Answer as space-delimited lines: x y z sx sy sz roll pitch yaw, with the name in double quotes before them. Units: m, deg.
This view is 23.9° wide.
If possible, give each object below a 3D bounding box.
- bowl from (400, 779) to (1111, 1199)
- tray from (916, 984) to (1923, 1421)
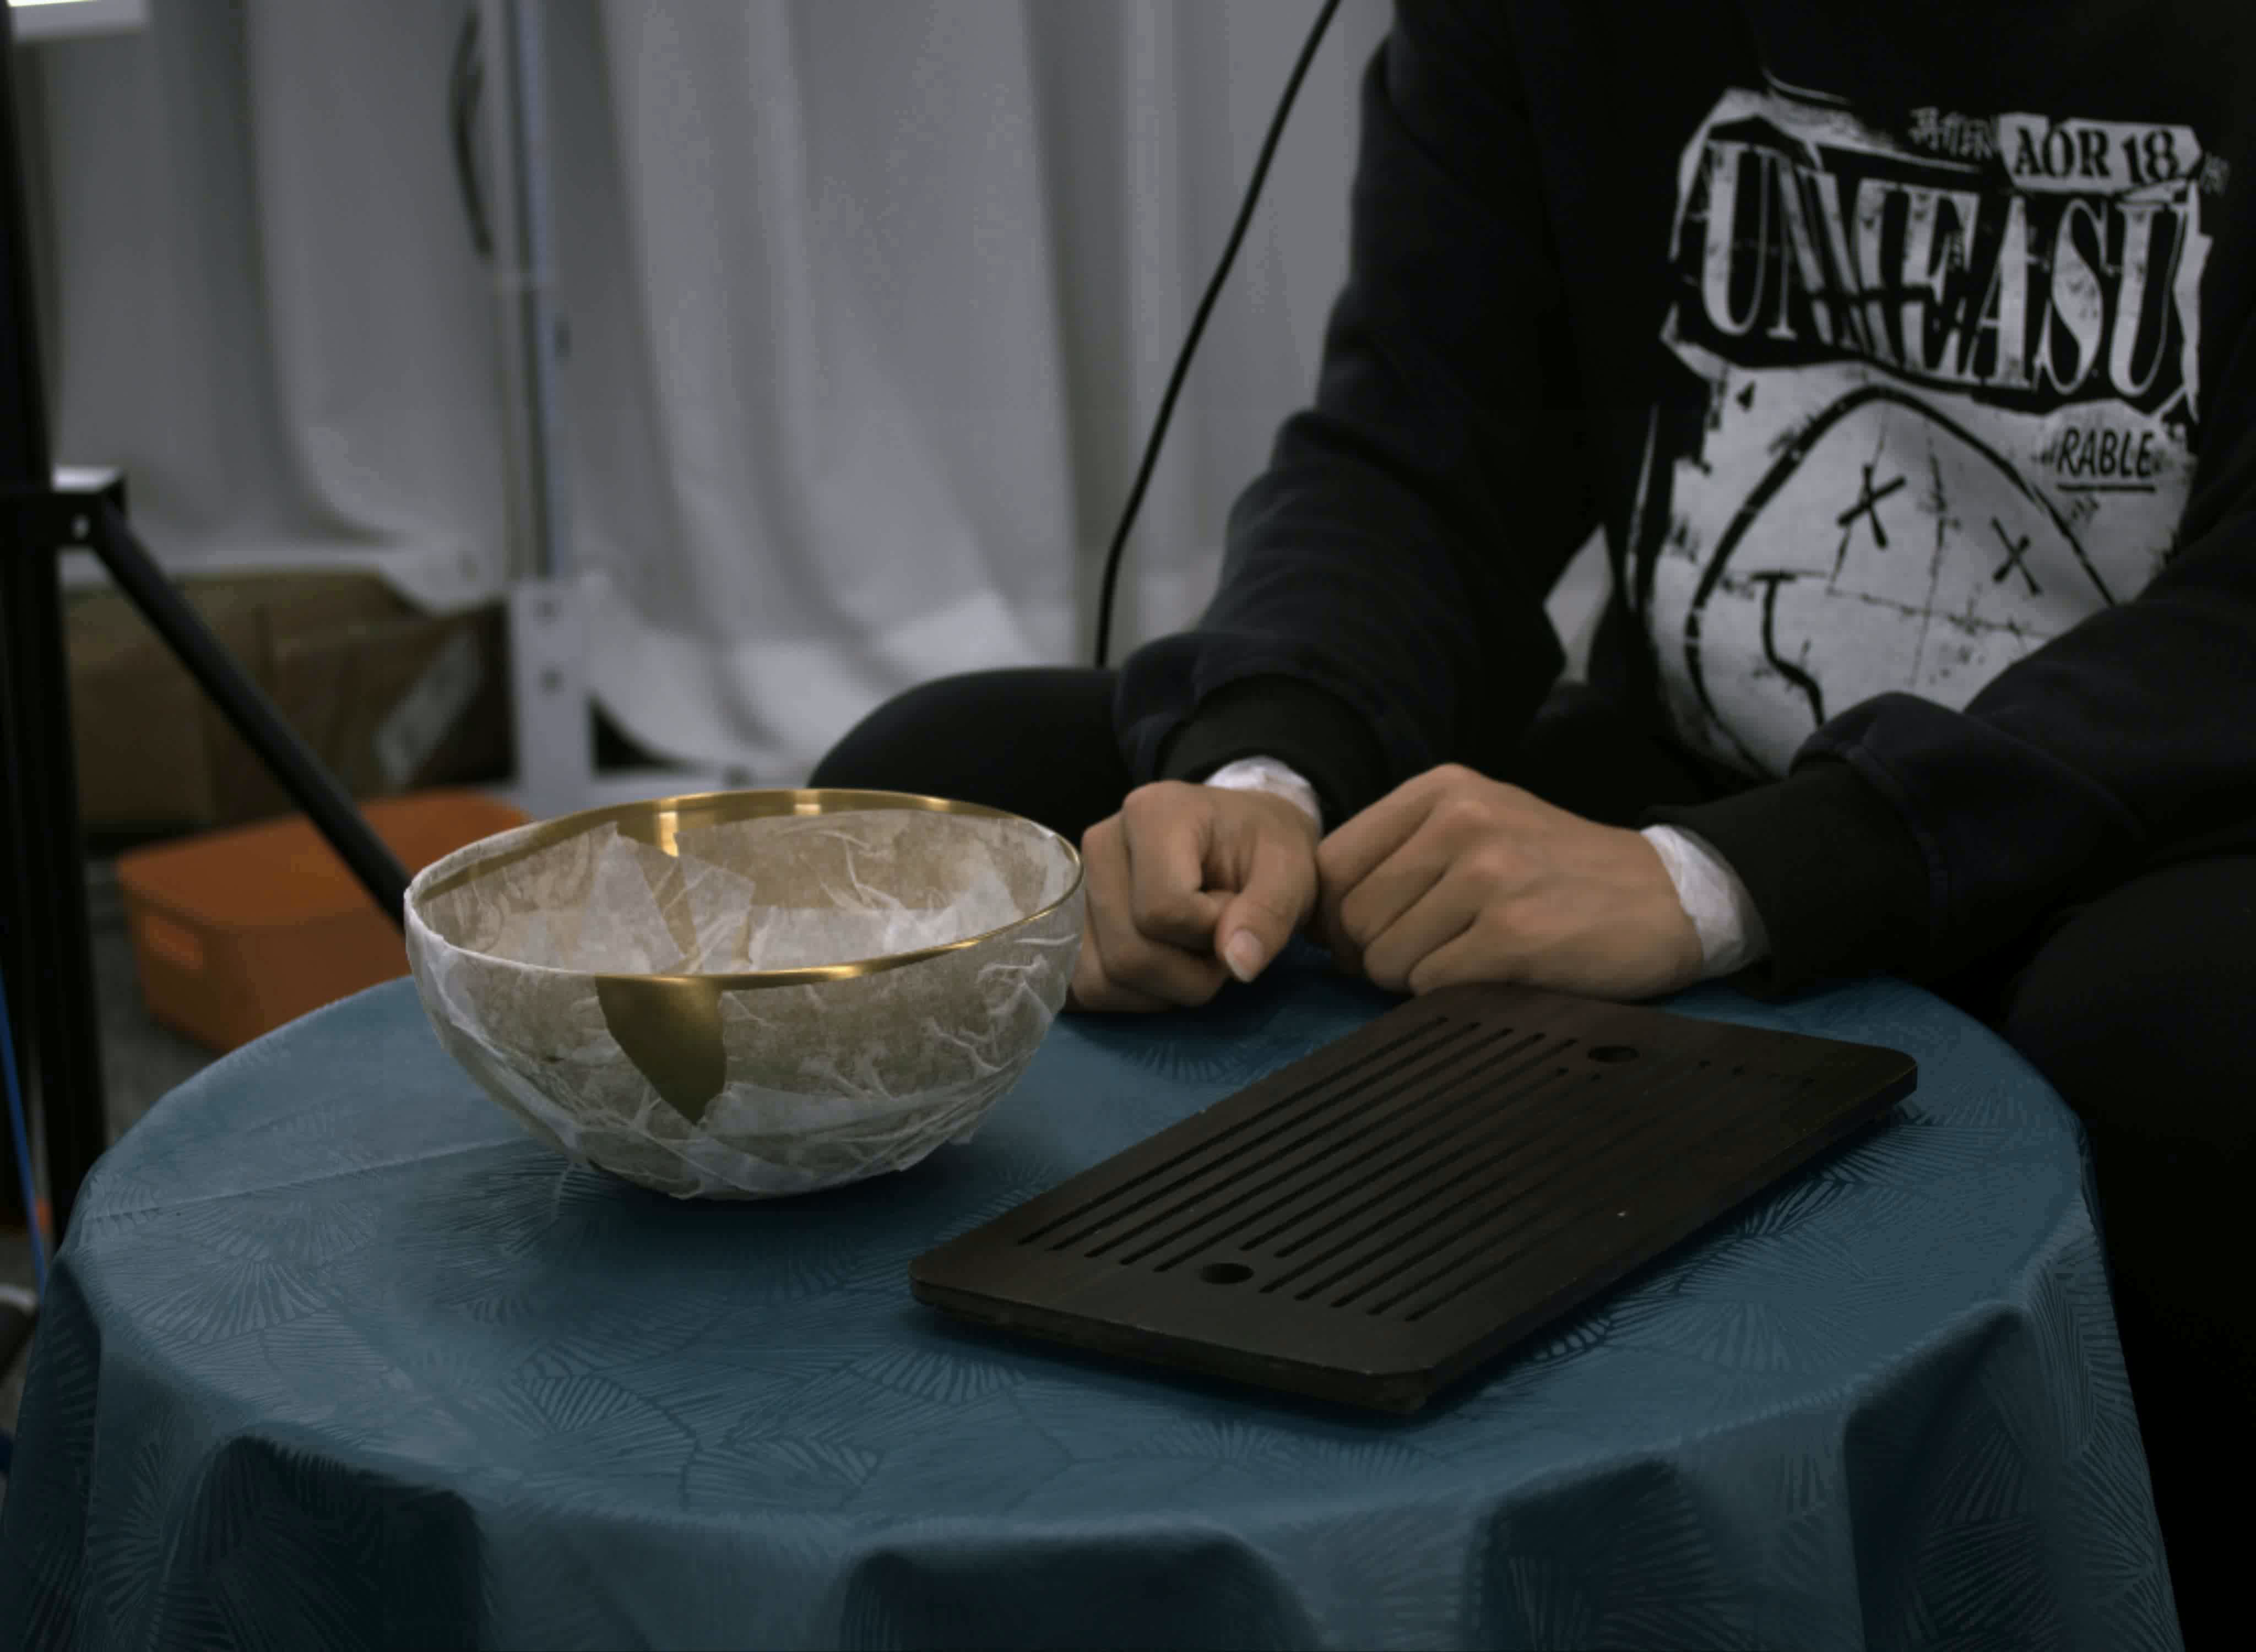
"bowl" -0.107 0.057 1.585 0.213 0.094 0.216 -3 14 -1
"tray" 0.090 0.104 1.523 0.173 0.018 0.300 9 19 34
